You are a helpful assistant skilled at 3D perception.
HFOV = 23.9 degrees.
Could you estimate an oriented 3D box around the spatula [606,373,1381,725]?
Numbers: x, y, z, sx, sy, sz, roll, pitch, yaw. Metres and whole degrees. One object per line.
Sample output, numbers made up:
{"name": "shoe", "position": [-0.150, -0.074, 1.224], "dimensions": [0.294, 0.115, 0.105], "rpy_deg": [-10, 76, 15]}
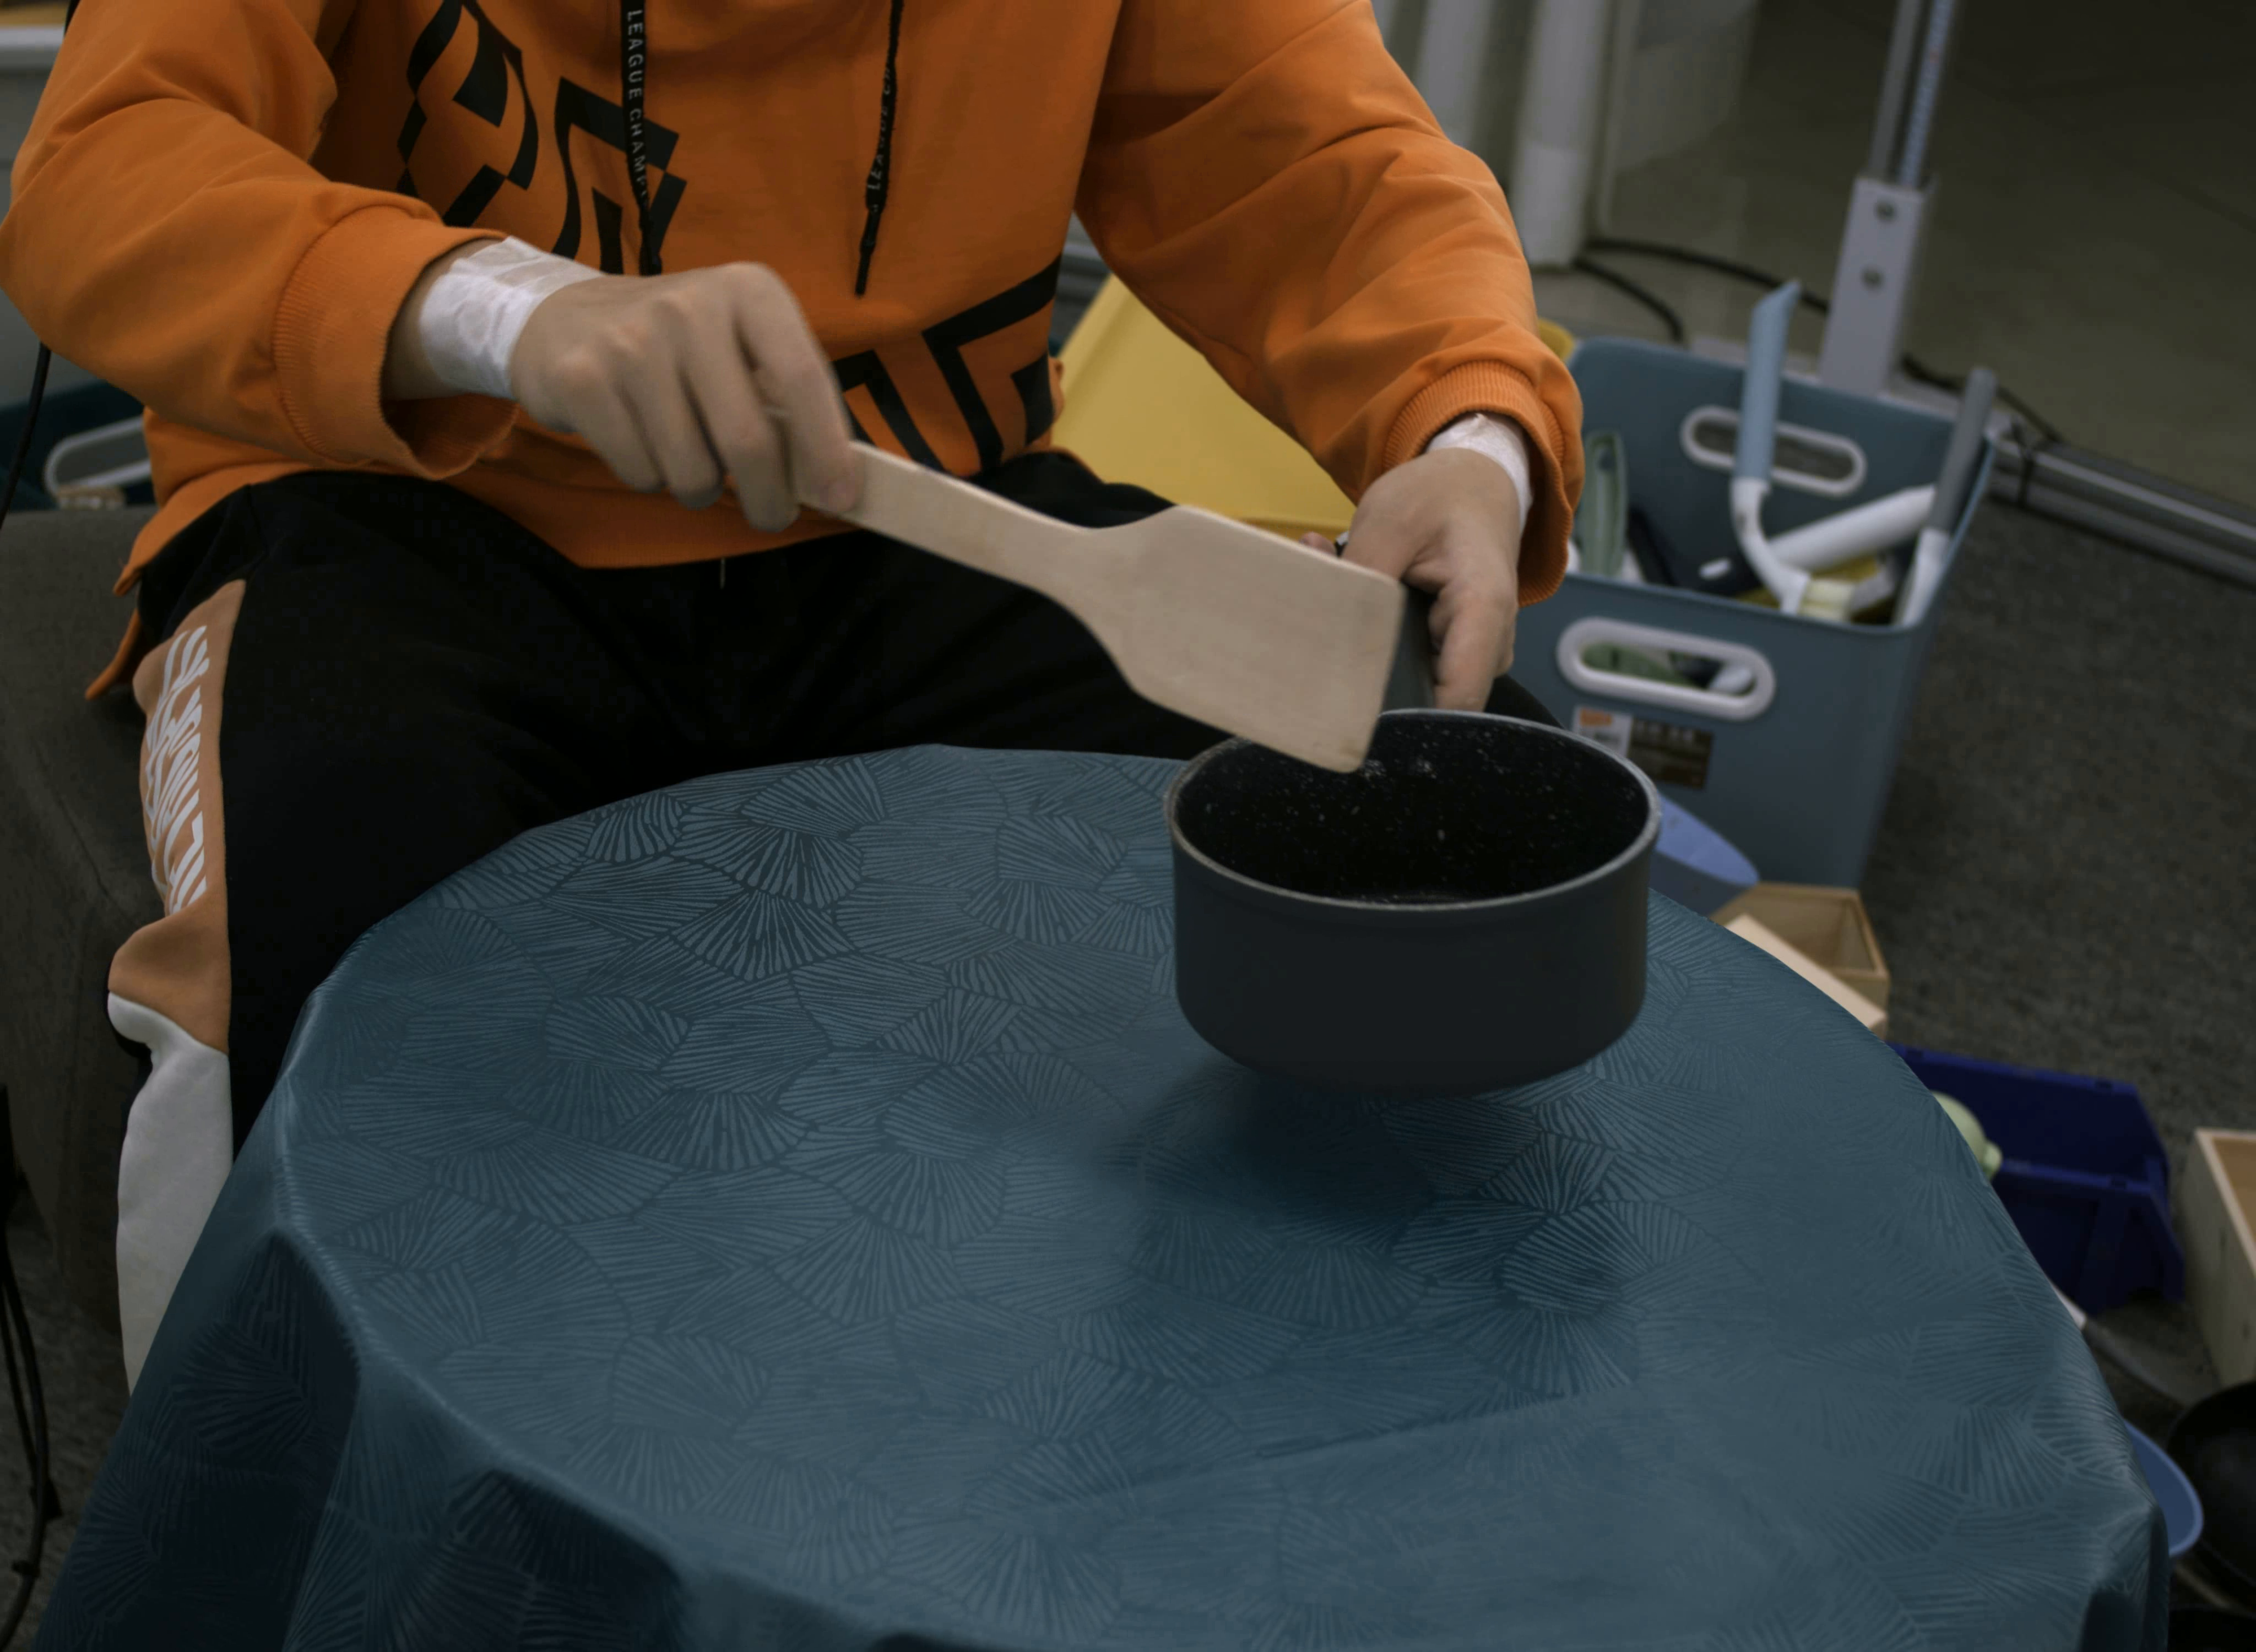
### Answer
{"name": "spatula", "position": [-0.051, -0.105, 1.783], "dimensions": [0.294, 0.072, 0.010], "rpy_deg": [18, 24, 23]}

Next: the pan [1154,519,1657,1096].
{"name": "pan", "position": [0.098, -0.010, 1.900], "dimensions": [0.171, 0.086, 0.330], "rpy_deg": [0, 25, 3]}
